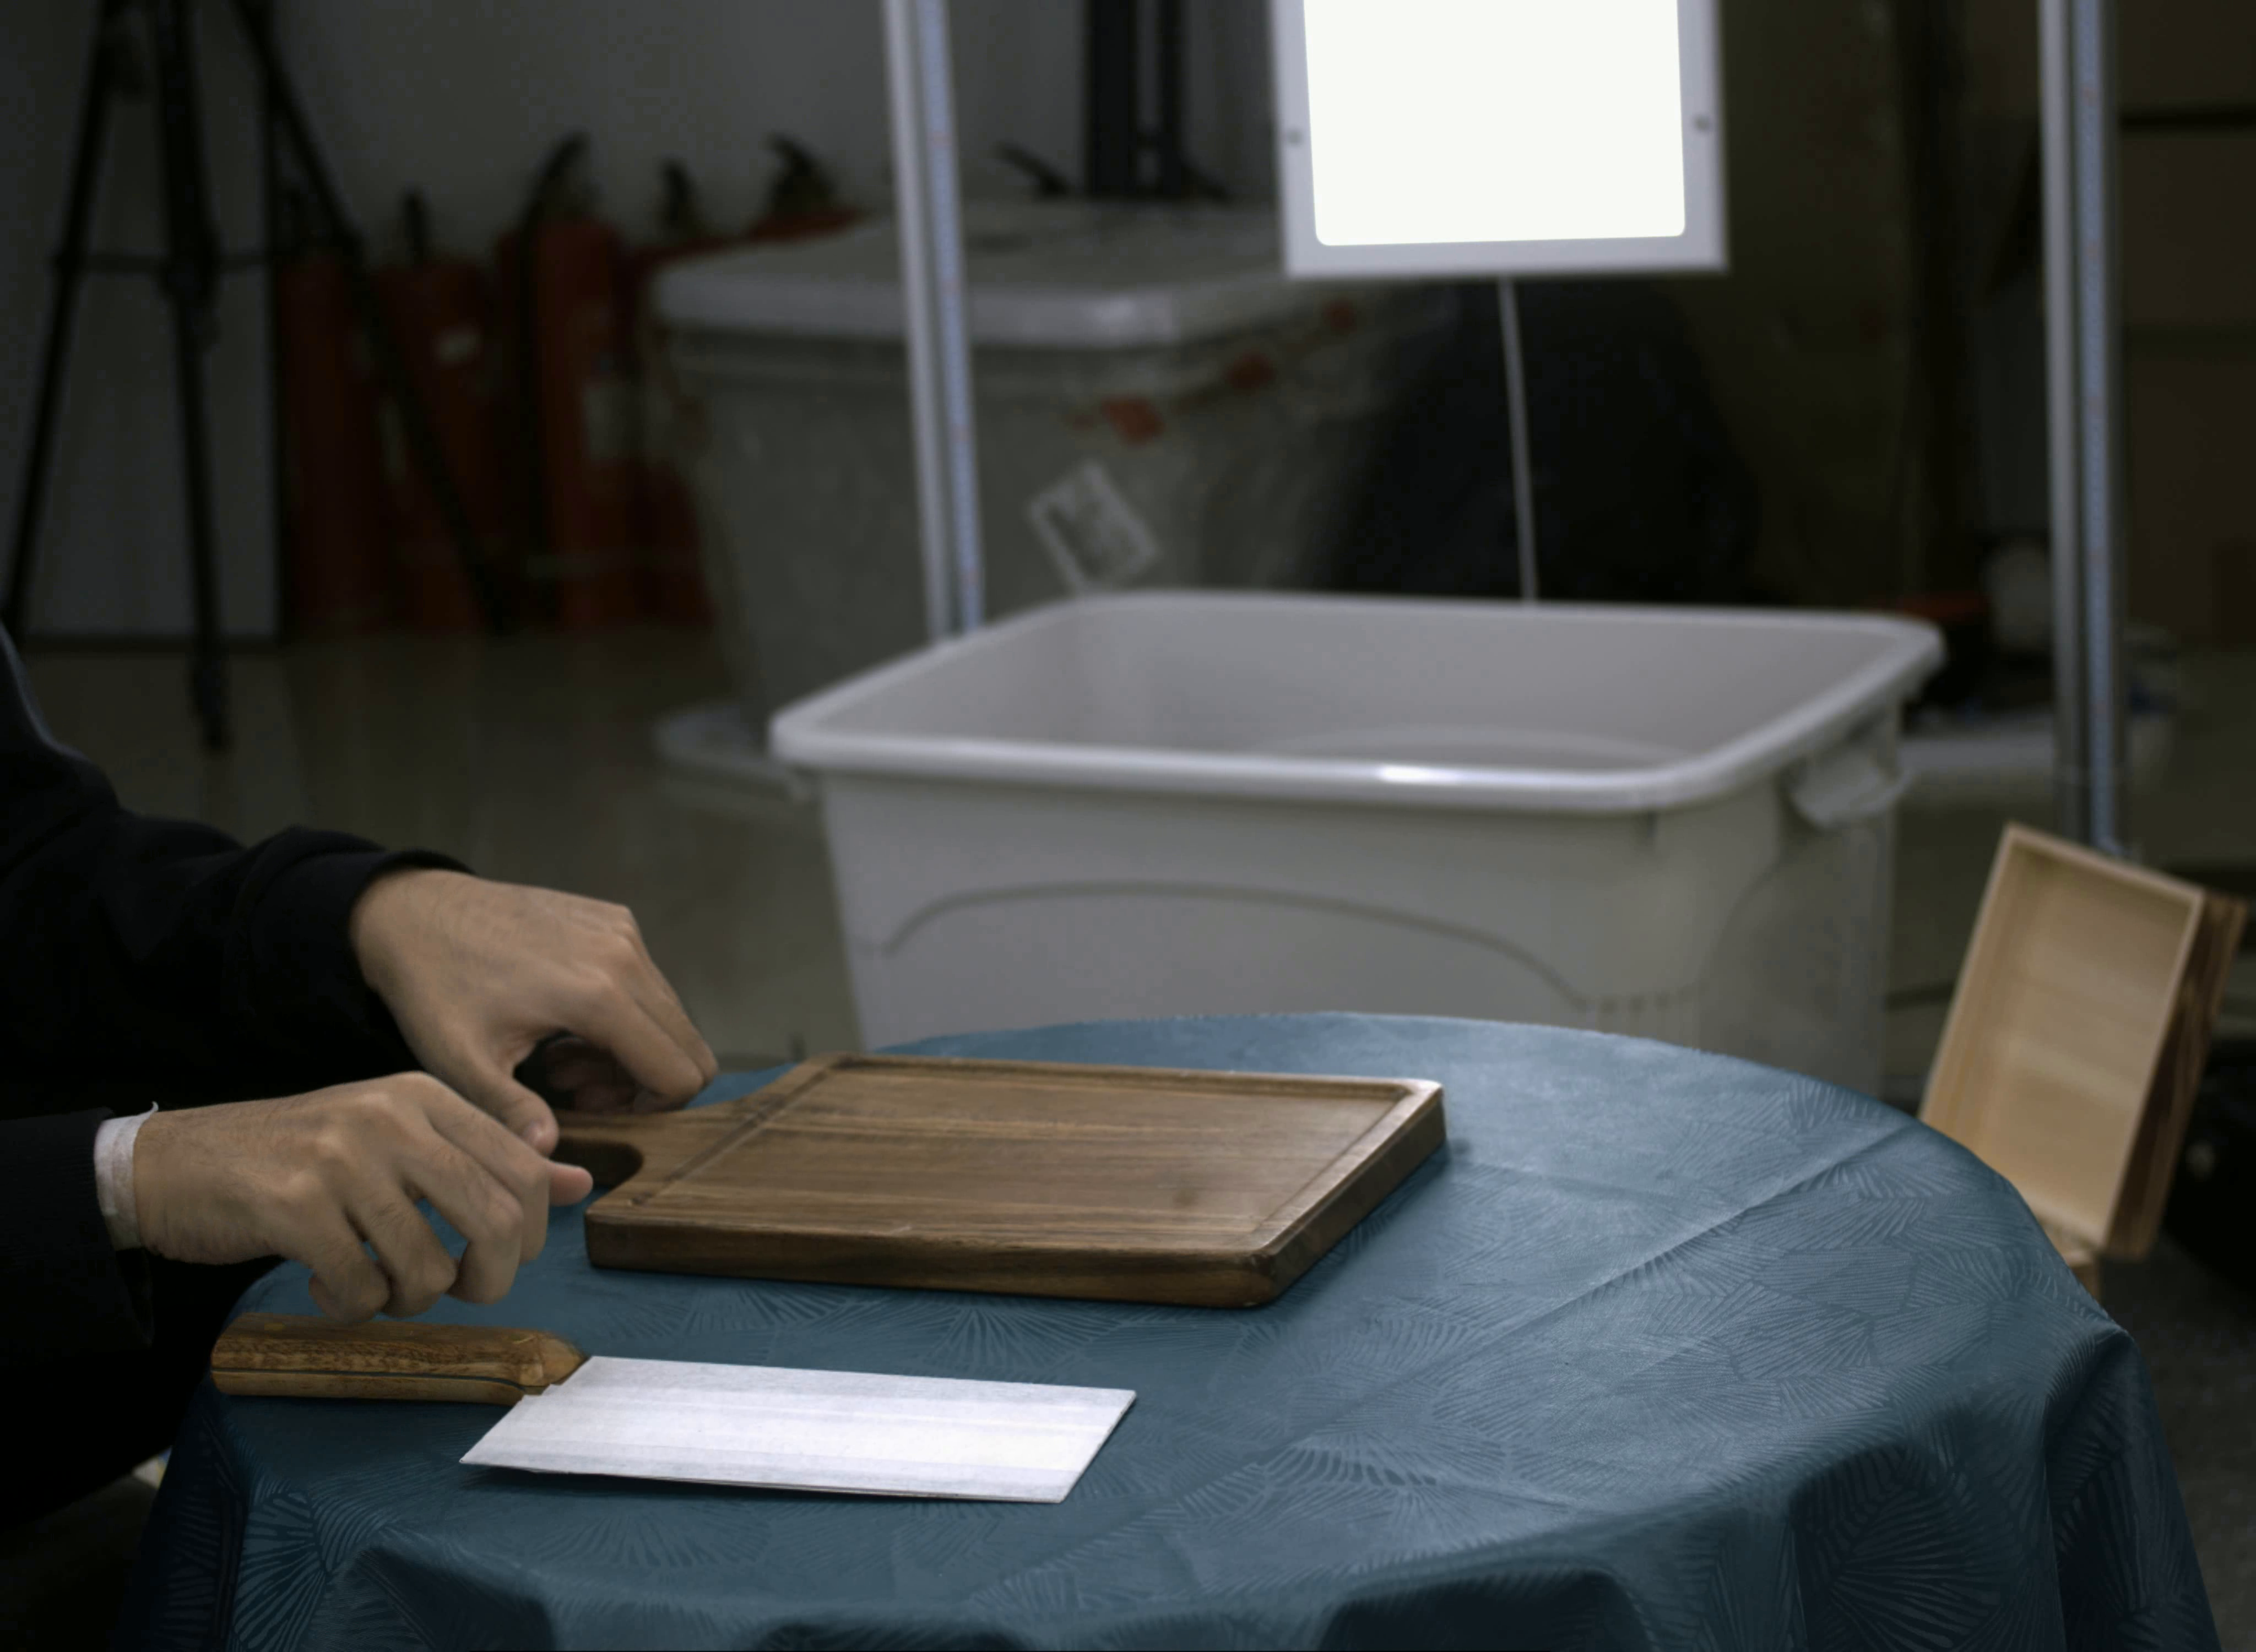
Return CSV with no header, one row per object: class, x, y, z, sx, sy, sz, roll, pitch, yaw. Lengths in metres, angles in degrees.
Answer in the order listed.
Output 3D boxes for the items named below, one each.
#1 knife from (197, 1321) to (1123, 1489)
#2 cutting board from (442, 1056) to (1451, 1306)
knife,-0.154,0.181,1.700,0.309,0.021,0.091,2,17,17
cutting board,-0.080,0.118,1.916,0.357,0.023,0.197,1,15,24
